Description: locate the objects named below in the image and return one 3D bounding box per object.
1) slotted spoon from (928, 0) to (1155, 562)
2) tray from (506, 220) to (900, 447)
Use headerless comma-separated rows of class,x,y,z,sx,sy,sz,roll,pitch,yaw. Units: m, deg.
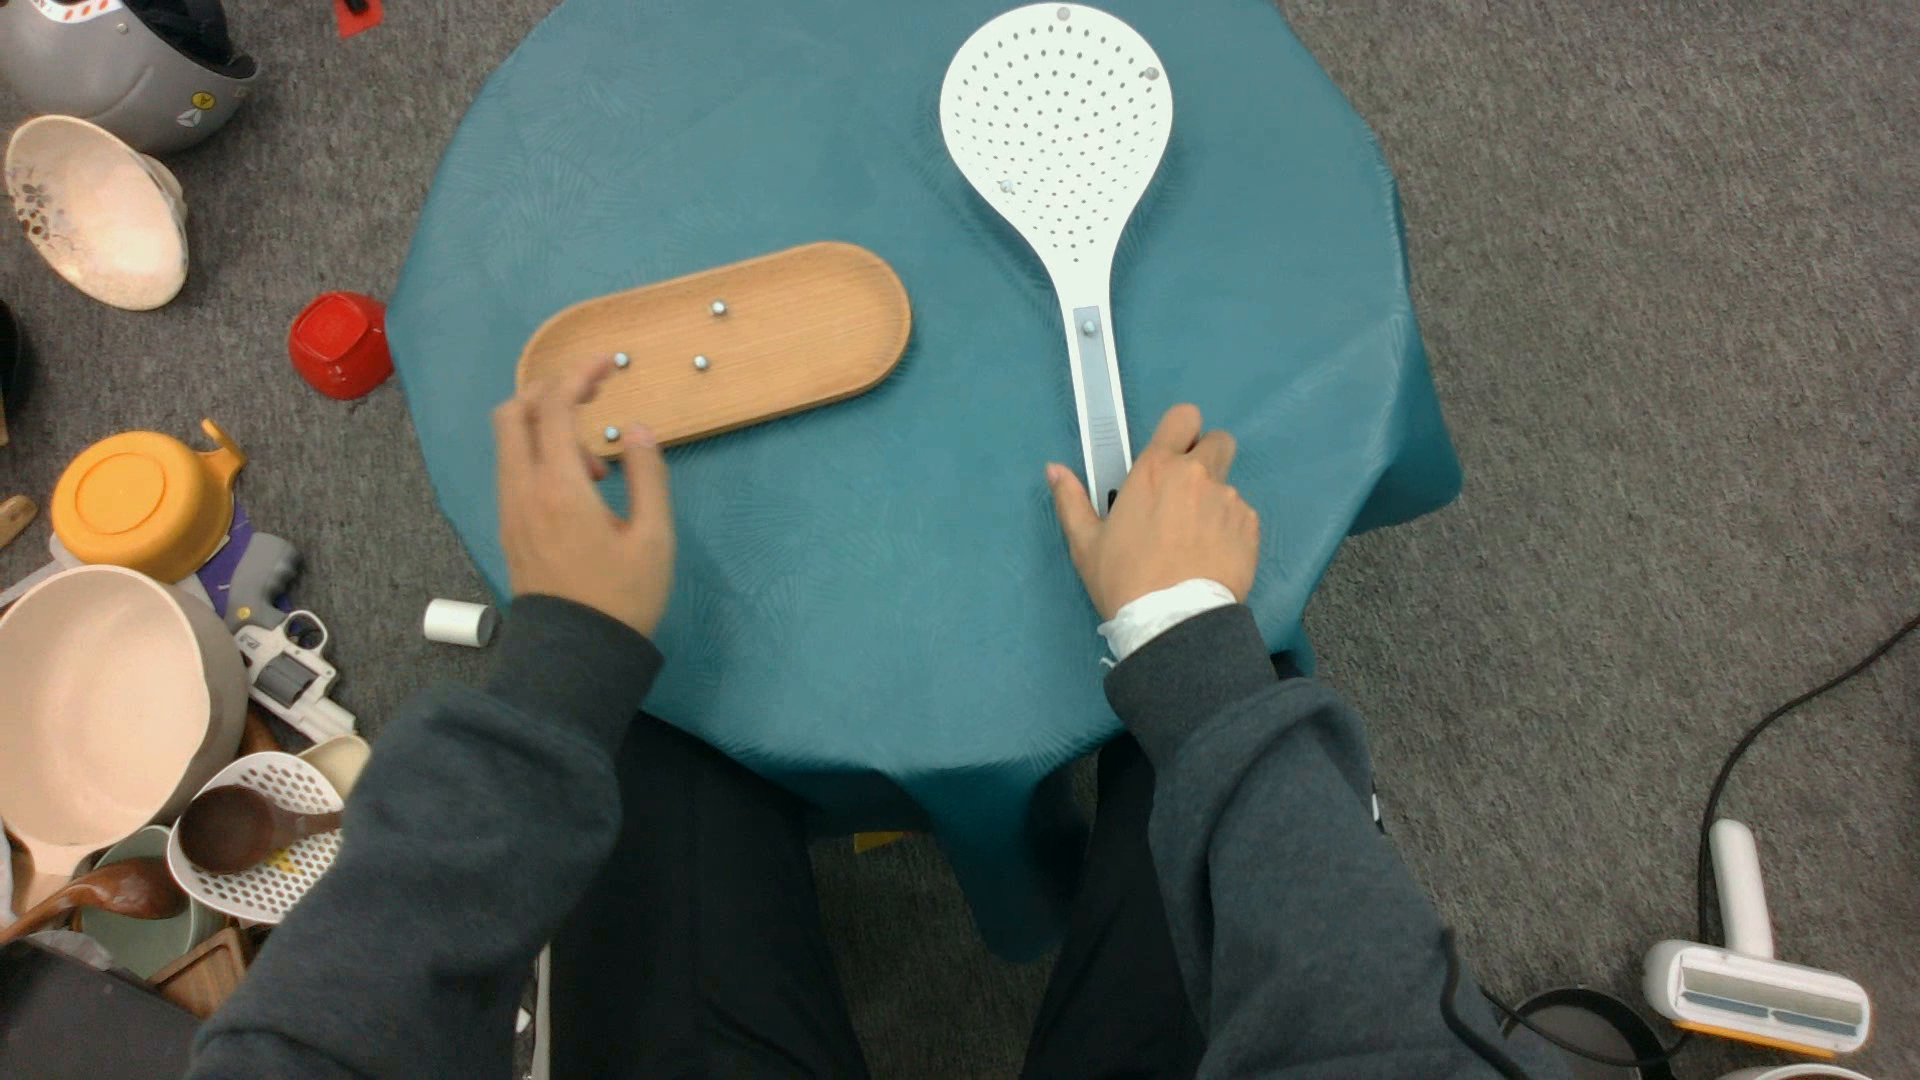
slotted spoon,0.063,-0.158,0.800,0.136,0.045,0.350,-8,73,0
tray,-0.148,-0.120,0.802,0.231,0.020,0.102,-17,74,-7
